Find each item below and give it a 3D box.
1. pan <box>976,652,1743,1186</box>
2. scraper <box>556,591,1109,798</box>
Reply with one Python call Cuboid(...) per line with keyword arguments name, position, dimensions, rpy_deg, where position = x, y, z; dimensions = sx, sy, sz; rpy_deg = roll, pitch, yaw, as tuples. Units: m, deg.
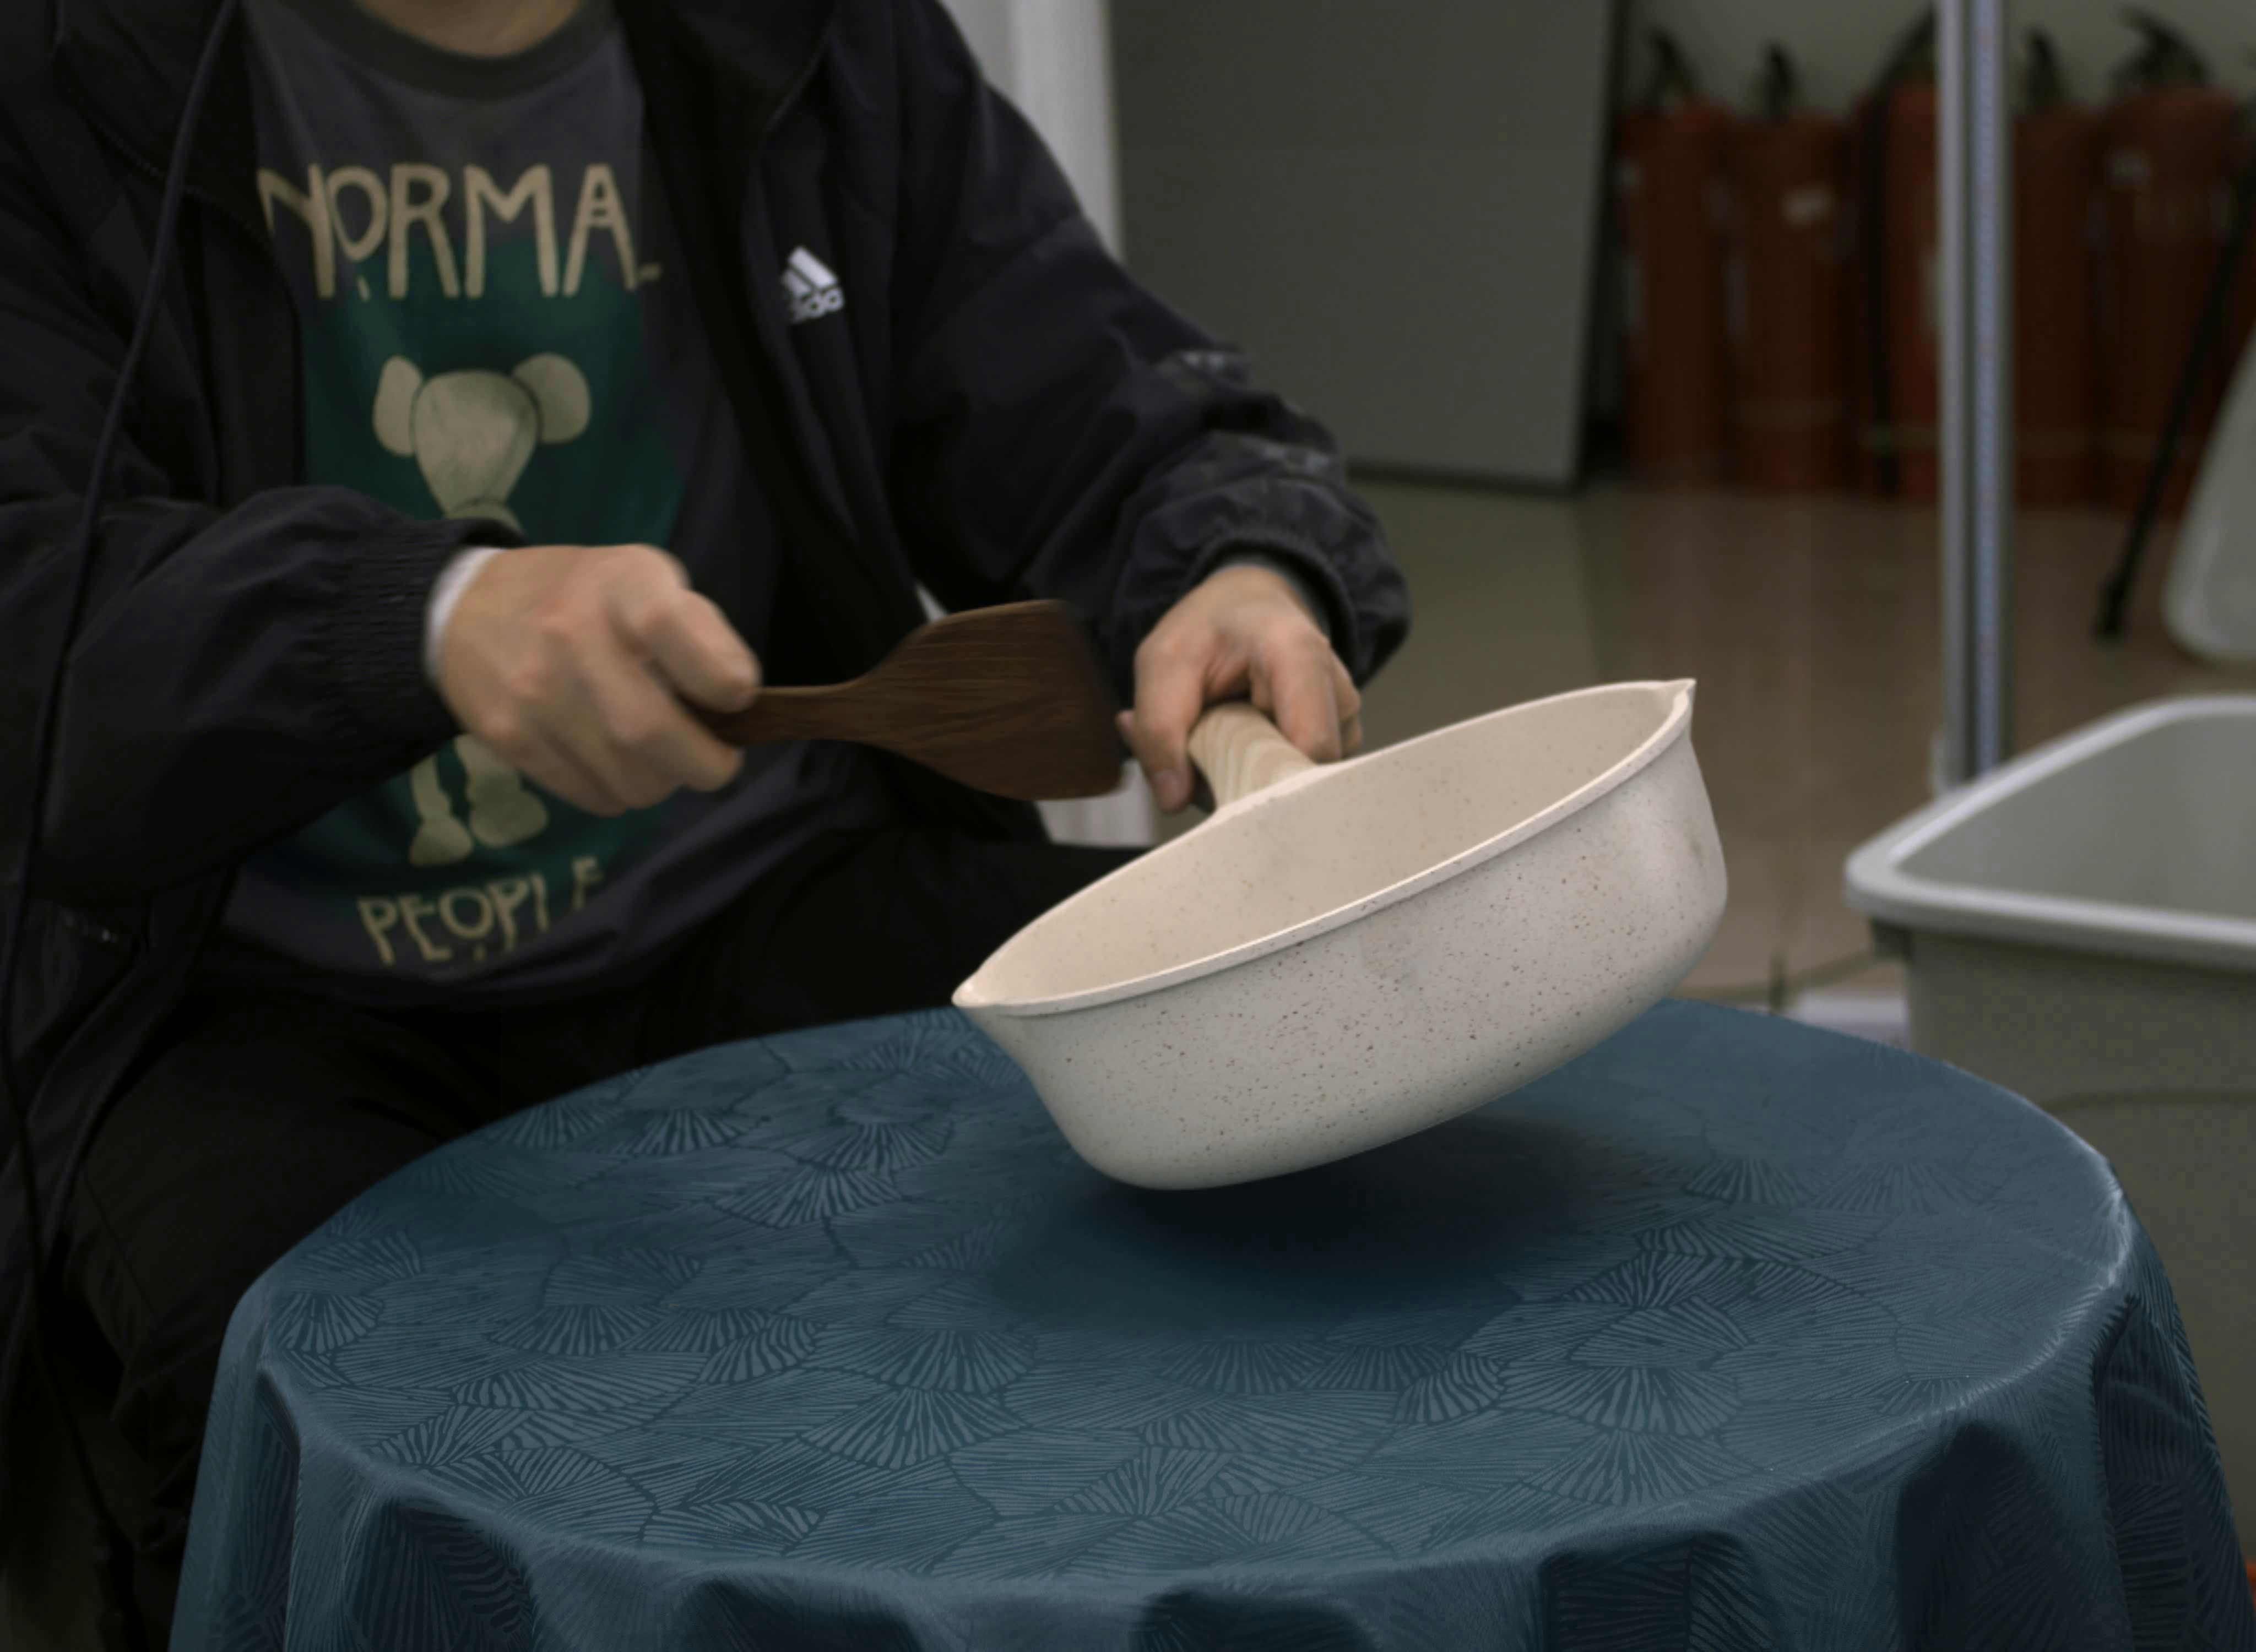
Cuboid(name="pan", position=(0.071, 0.020, 1.828), dimensions=(0.261, 0.102, 0.436), rpy_deg=(-26, 8, -3))
Cuboid(name="scraper", position=(-0.101, -0.037, 1.741), dimensions=(0.212, 0.076, 0.011), rpy_deg=(-3, 35, 36))
